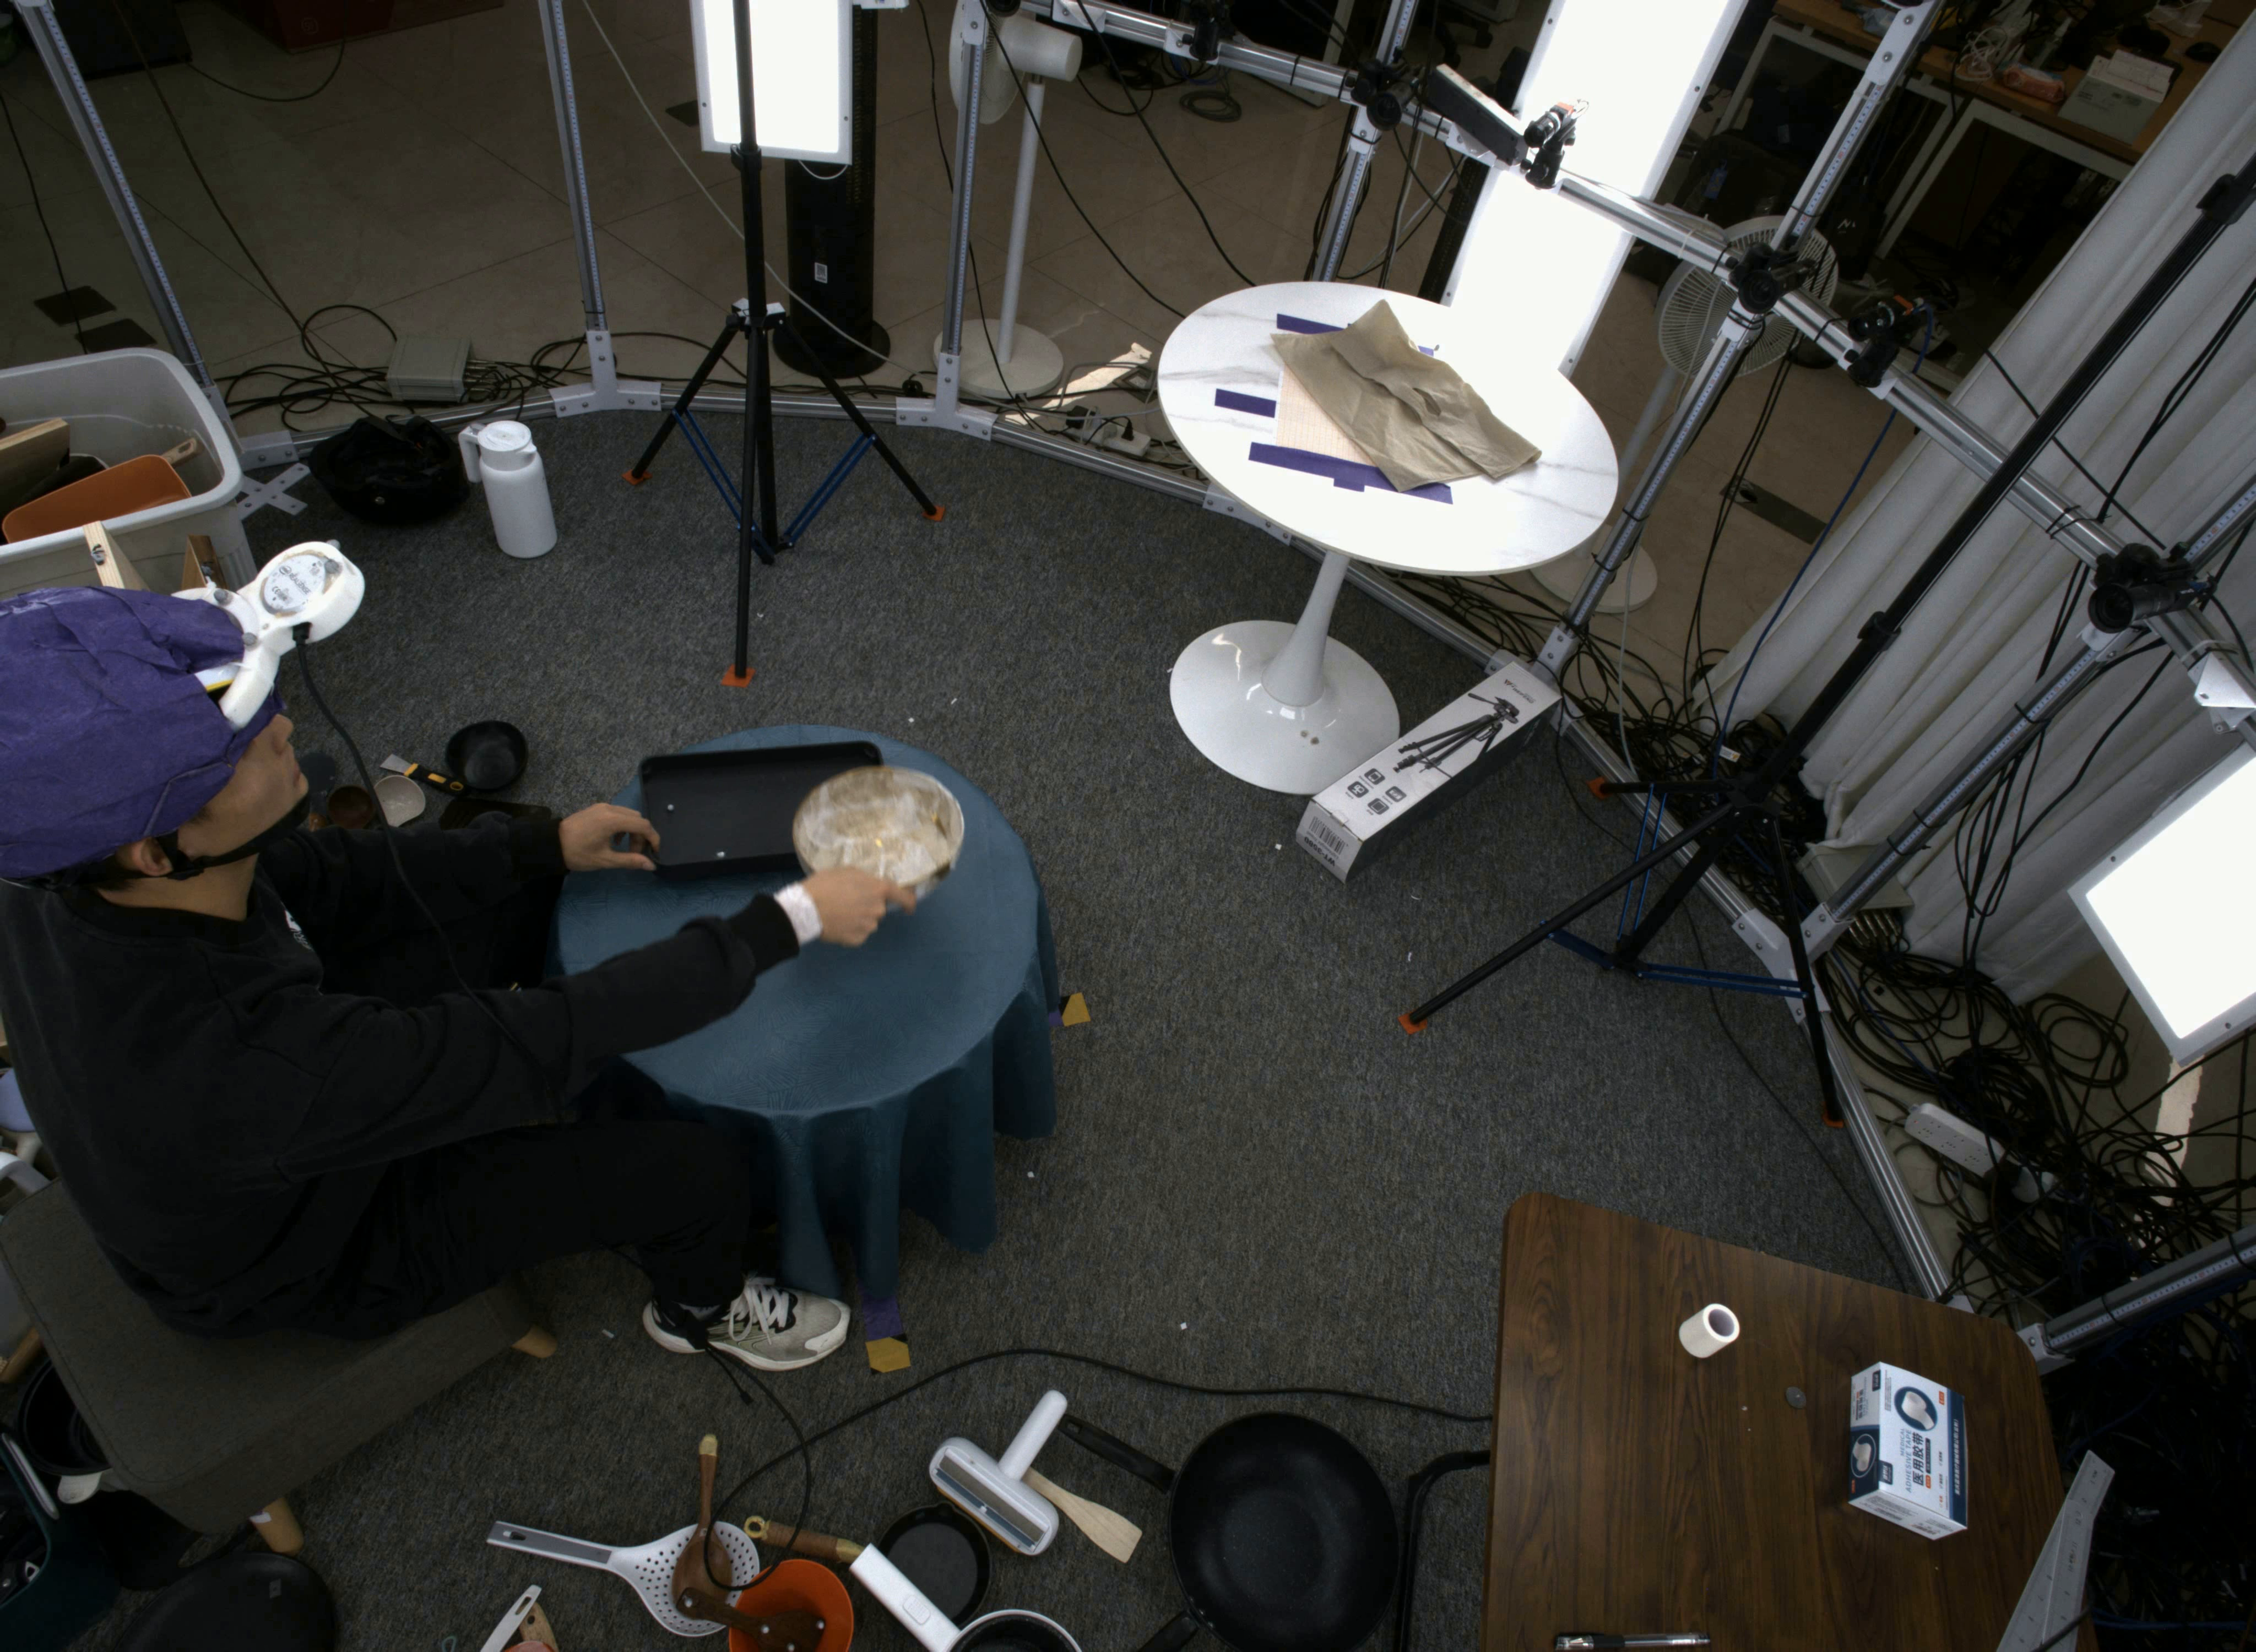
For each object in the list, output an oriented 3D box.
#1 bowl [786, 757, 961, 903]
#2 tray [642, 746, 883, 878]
[{"bbox_3d":[-0.306,0.019,1.570,0.213,0.097,0.210,6,47,-5],"label":"bowl"},{"bbox_3d":[-0.471,-0.024,1.700,0.320,0.037,0.179,-3,53,-24],"label":"tray"}]
